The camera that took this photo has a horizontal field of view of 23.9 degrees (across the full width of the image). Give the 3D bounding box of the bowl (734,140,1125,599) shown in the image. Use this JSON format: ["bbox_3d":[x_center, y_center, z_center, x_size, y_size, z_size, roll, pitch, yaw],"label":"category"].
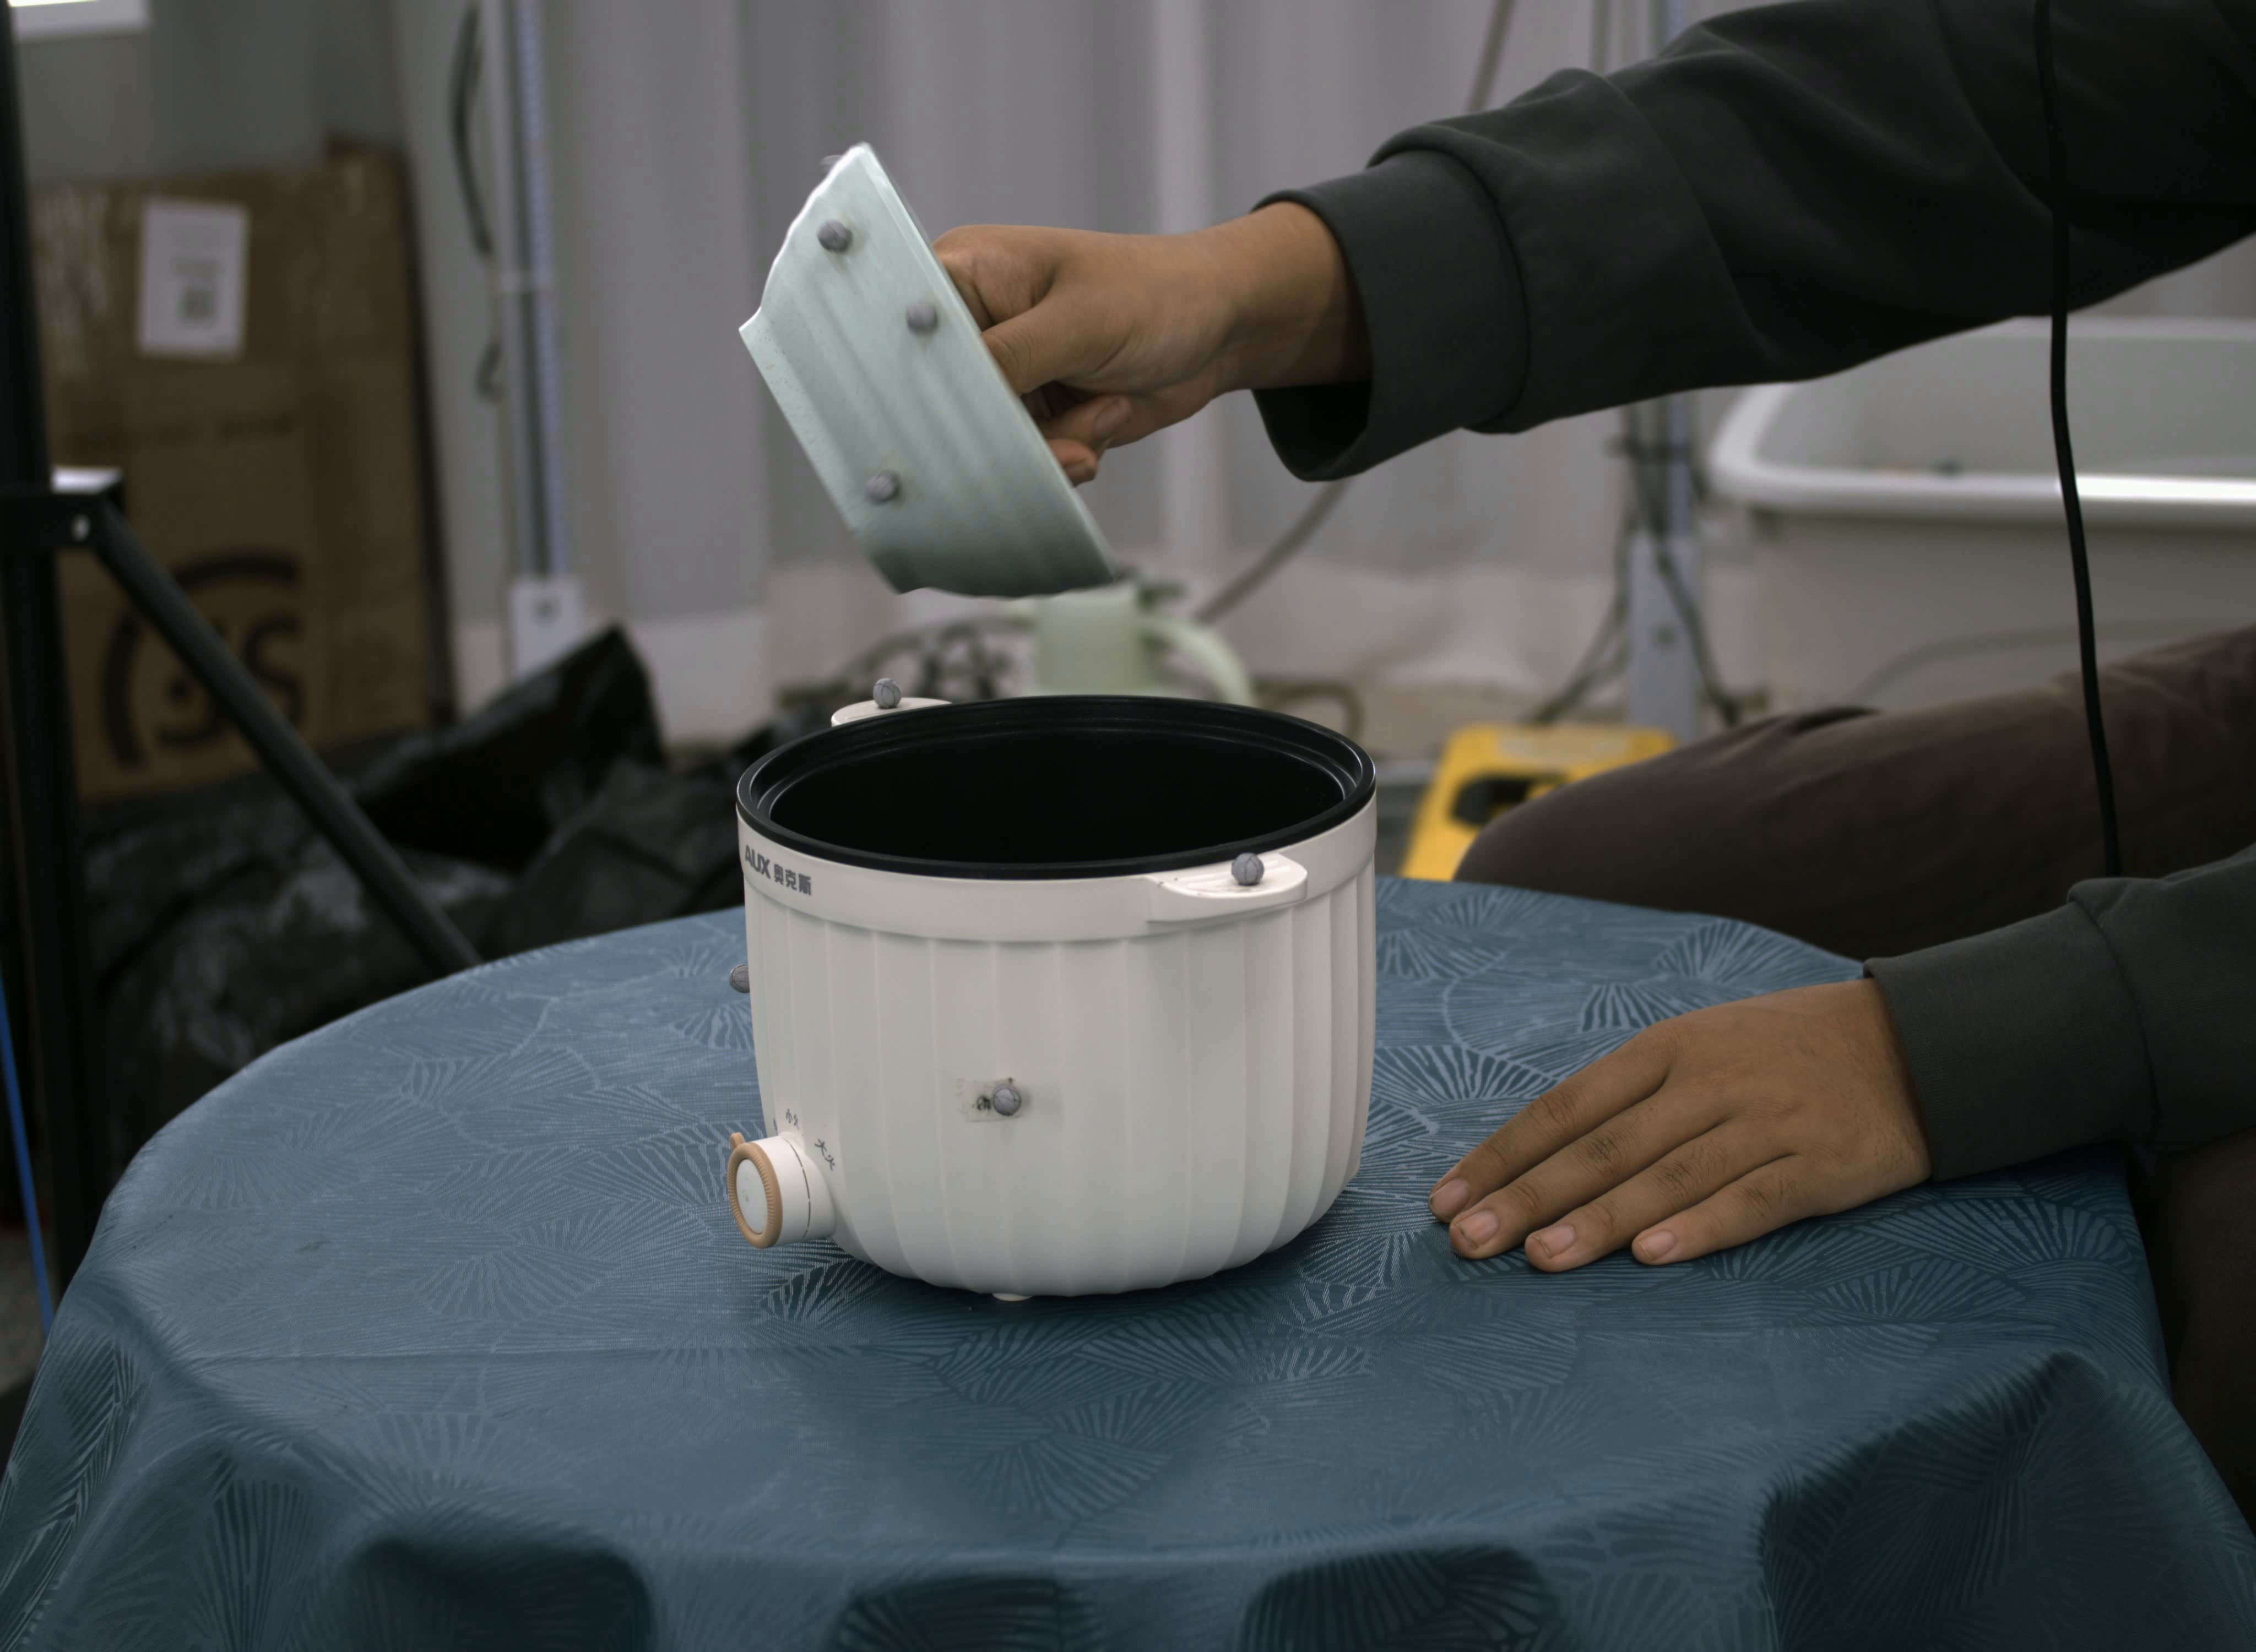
[{"bbox_3d":[-0.062,-0.116,1.495,0.058,0.150,0.153,-32,16,2],"label":"bowl"}]

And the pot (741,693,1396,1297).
[{"bbox_3d":[-0.019,0.050,1.509,0.186,0.143,0.245,-7,14,-28],"label":"pot"}]
